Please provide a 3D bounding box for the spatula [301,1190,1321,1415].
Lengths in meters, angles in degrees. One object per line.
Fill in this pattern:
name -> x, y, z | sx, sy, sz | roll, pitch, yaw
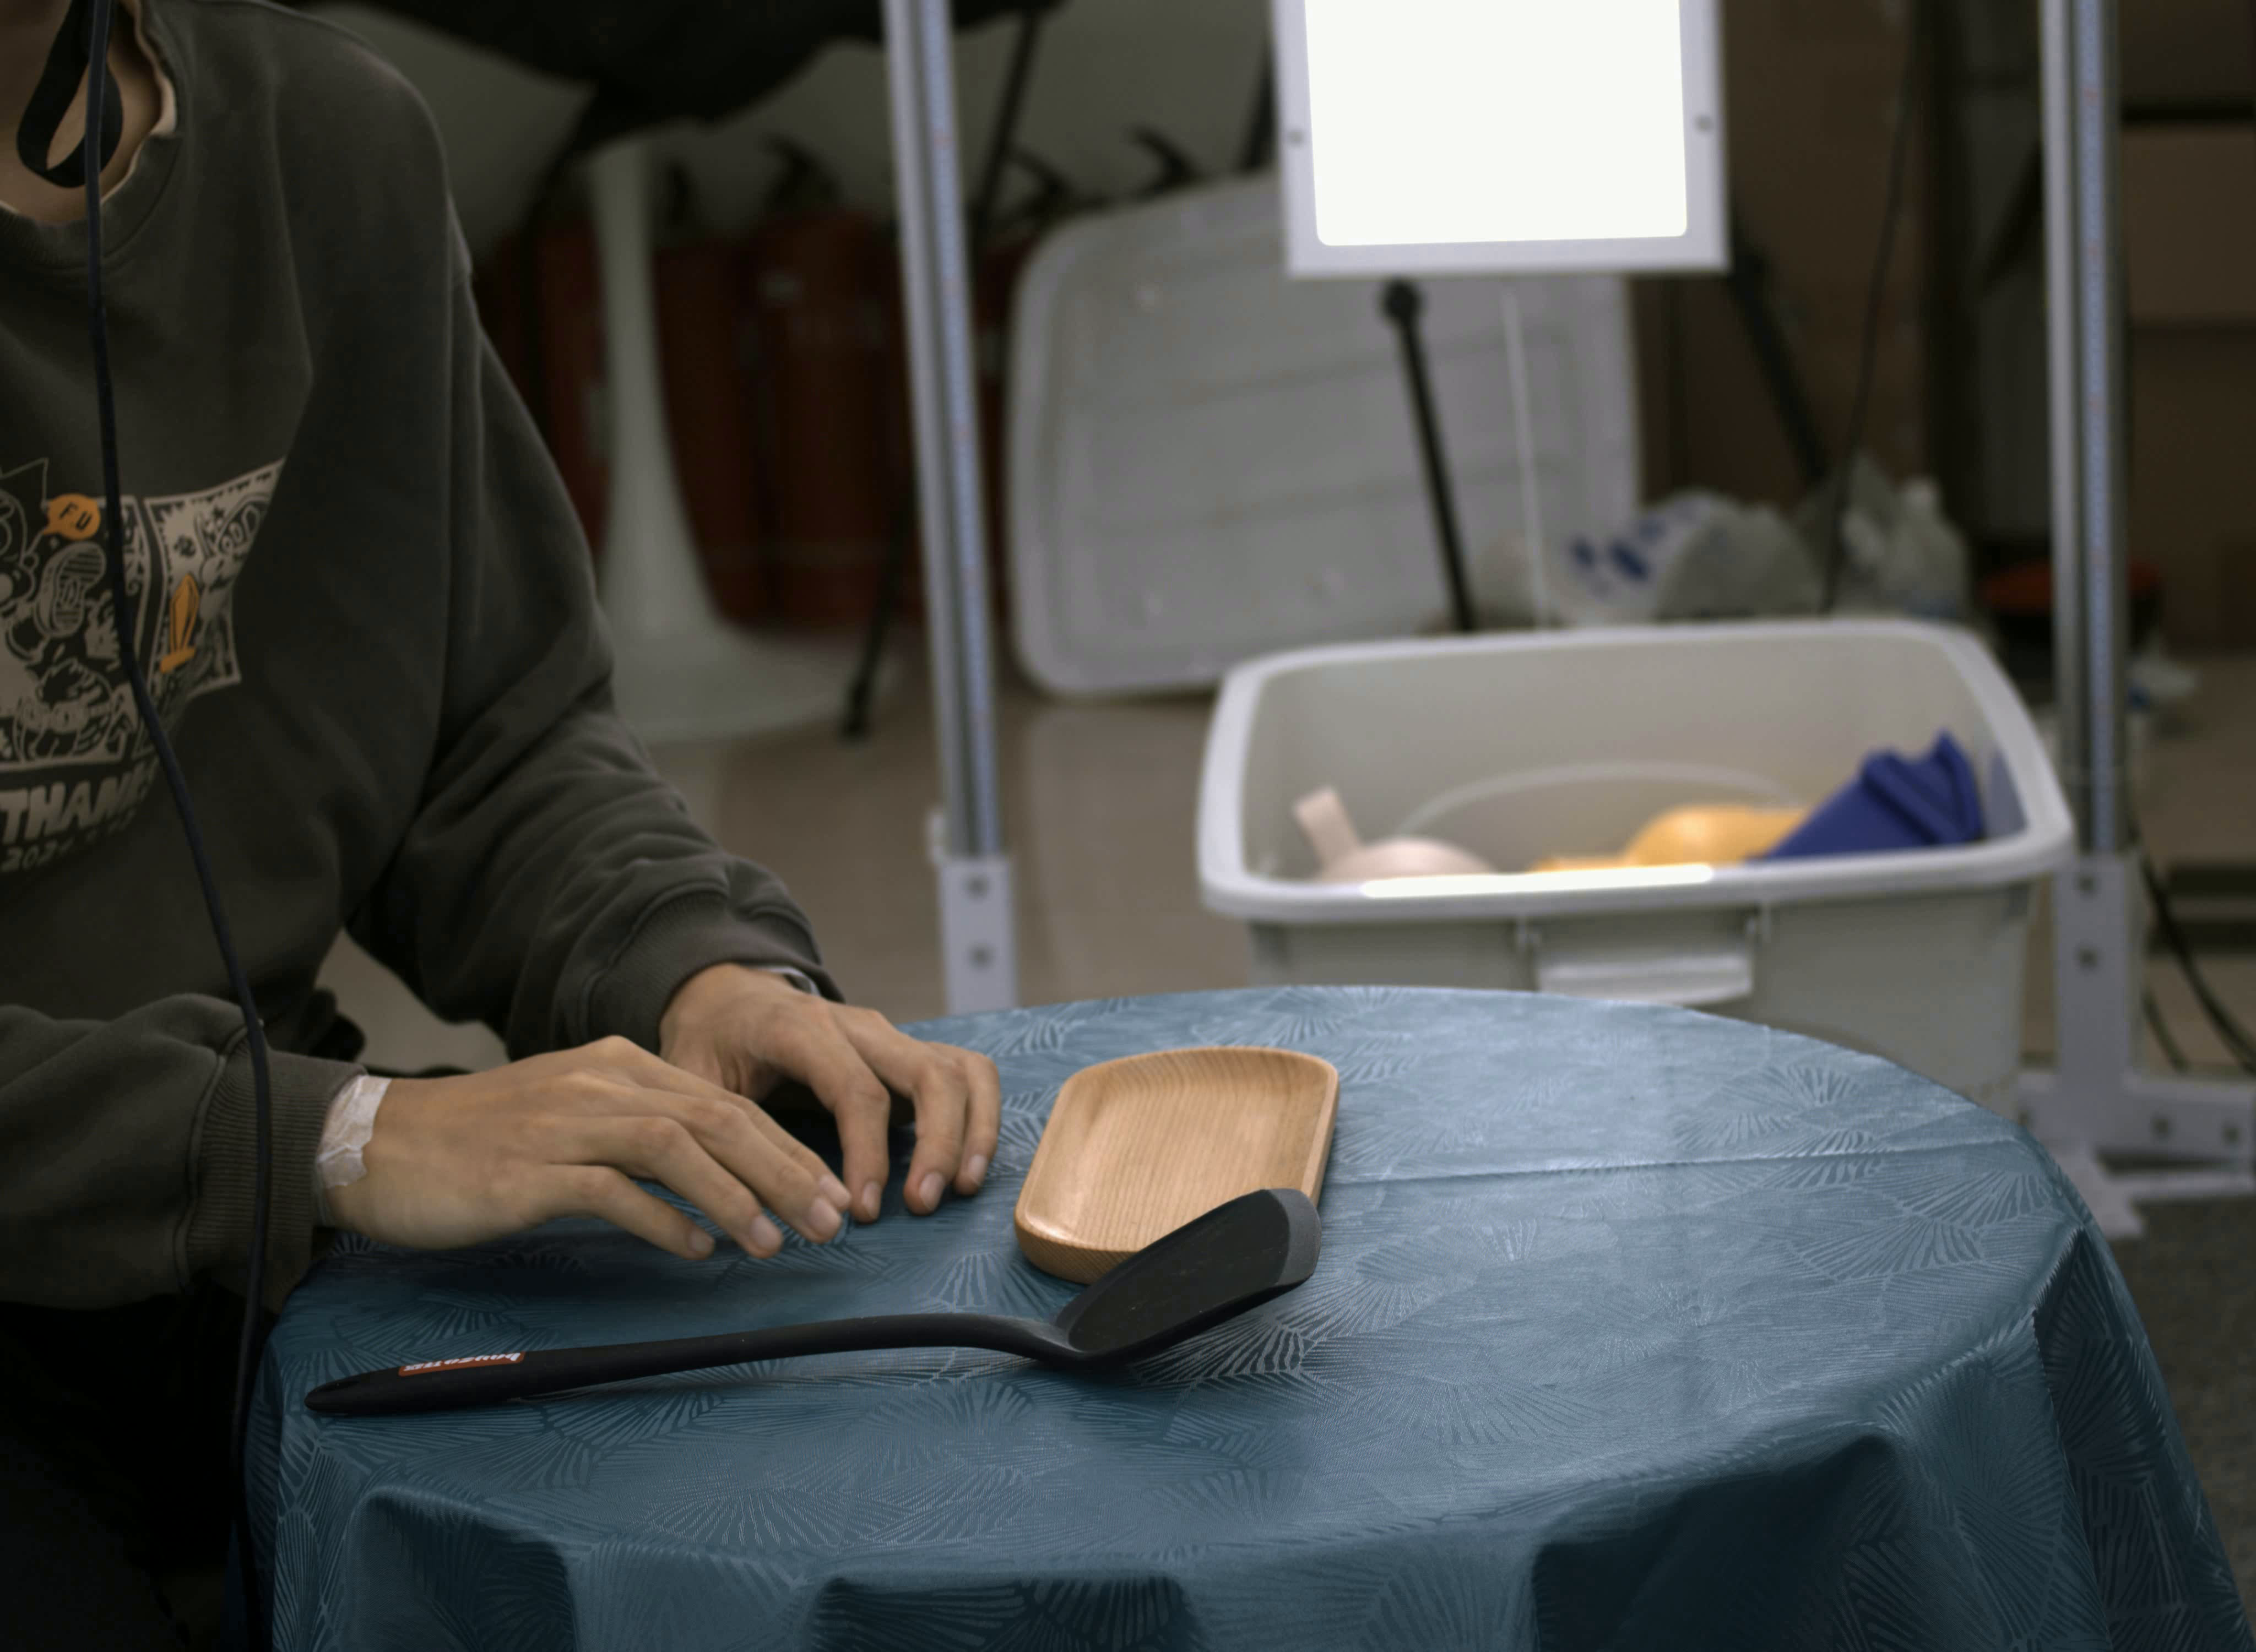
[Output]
spatula -> -0.100, 0.156, 1.737 | 0.326, 0.040, 0.099 | -4, 13, 3

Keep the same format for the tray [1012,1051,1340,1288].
tray -> 0.019, 0.116, 1.897 | 0.102, 0.020, 0.229 | -4, 15, 8
